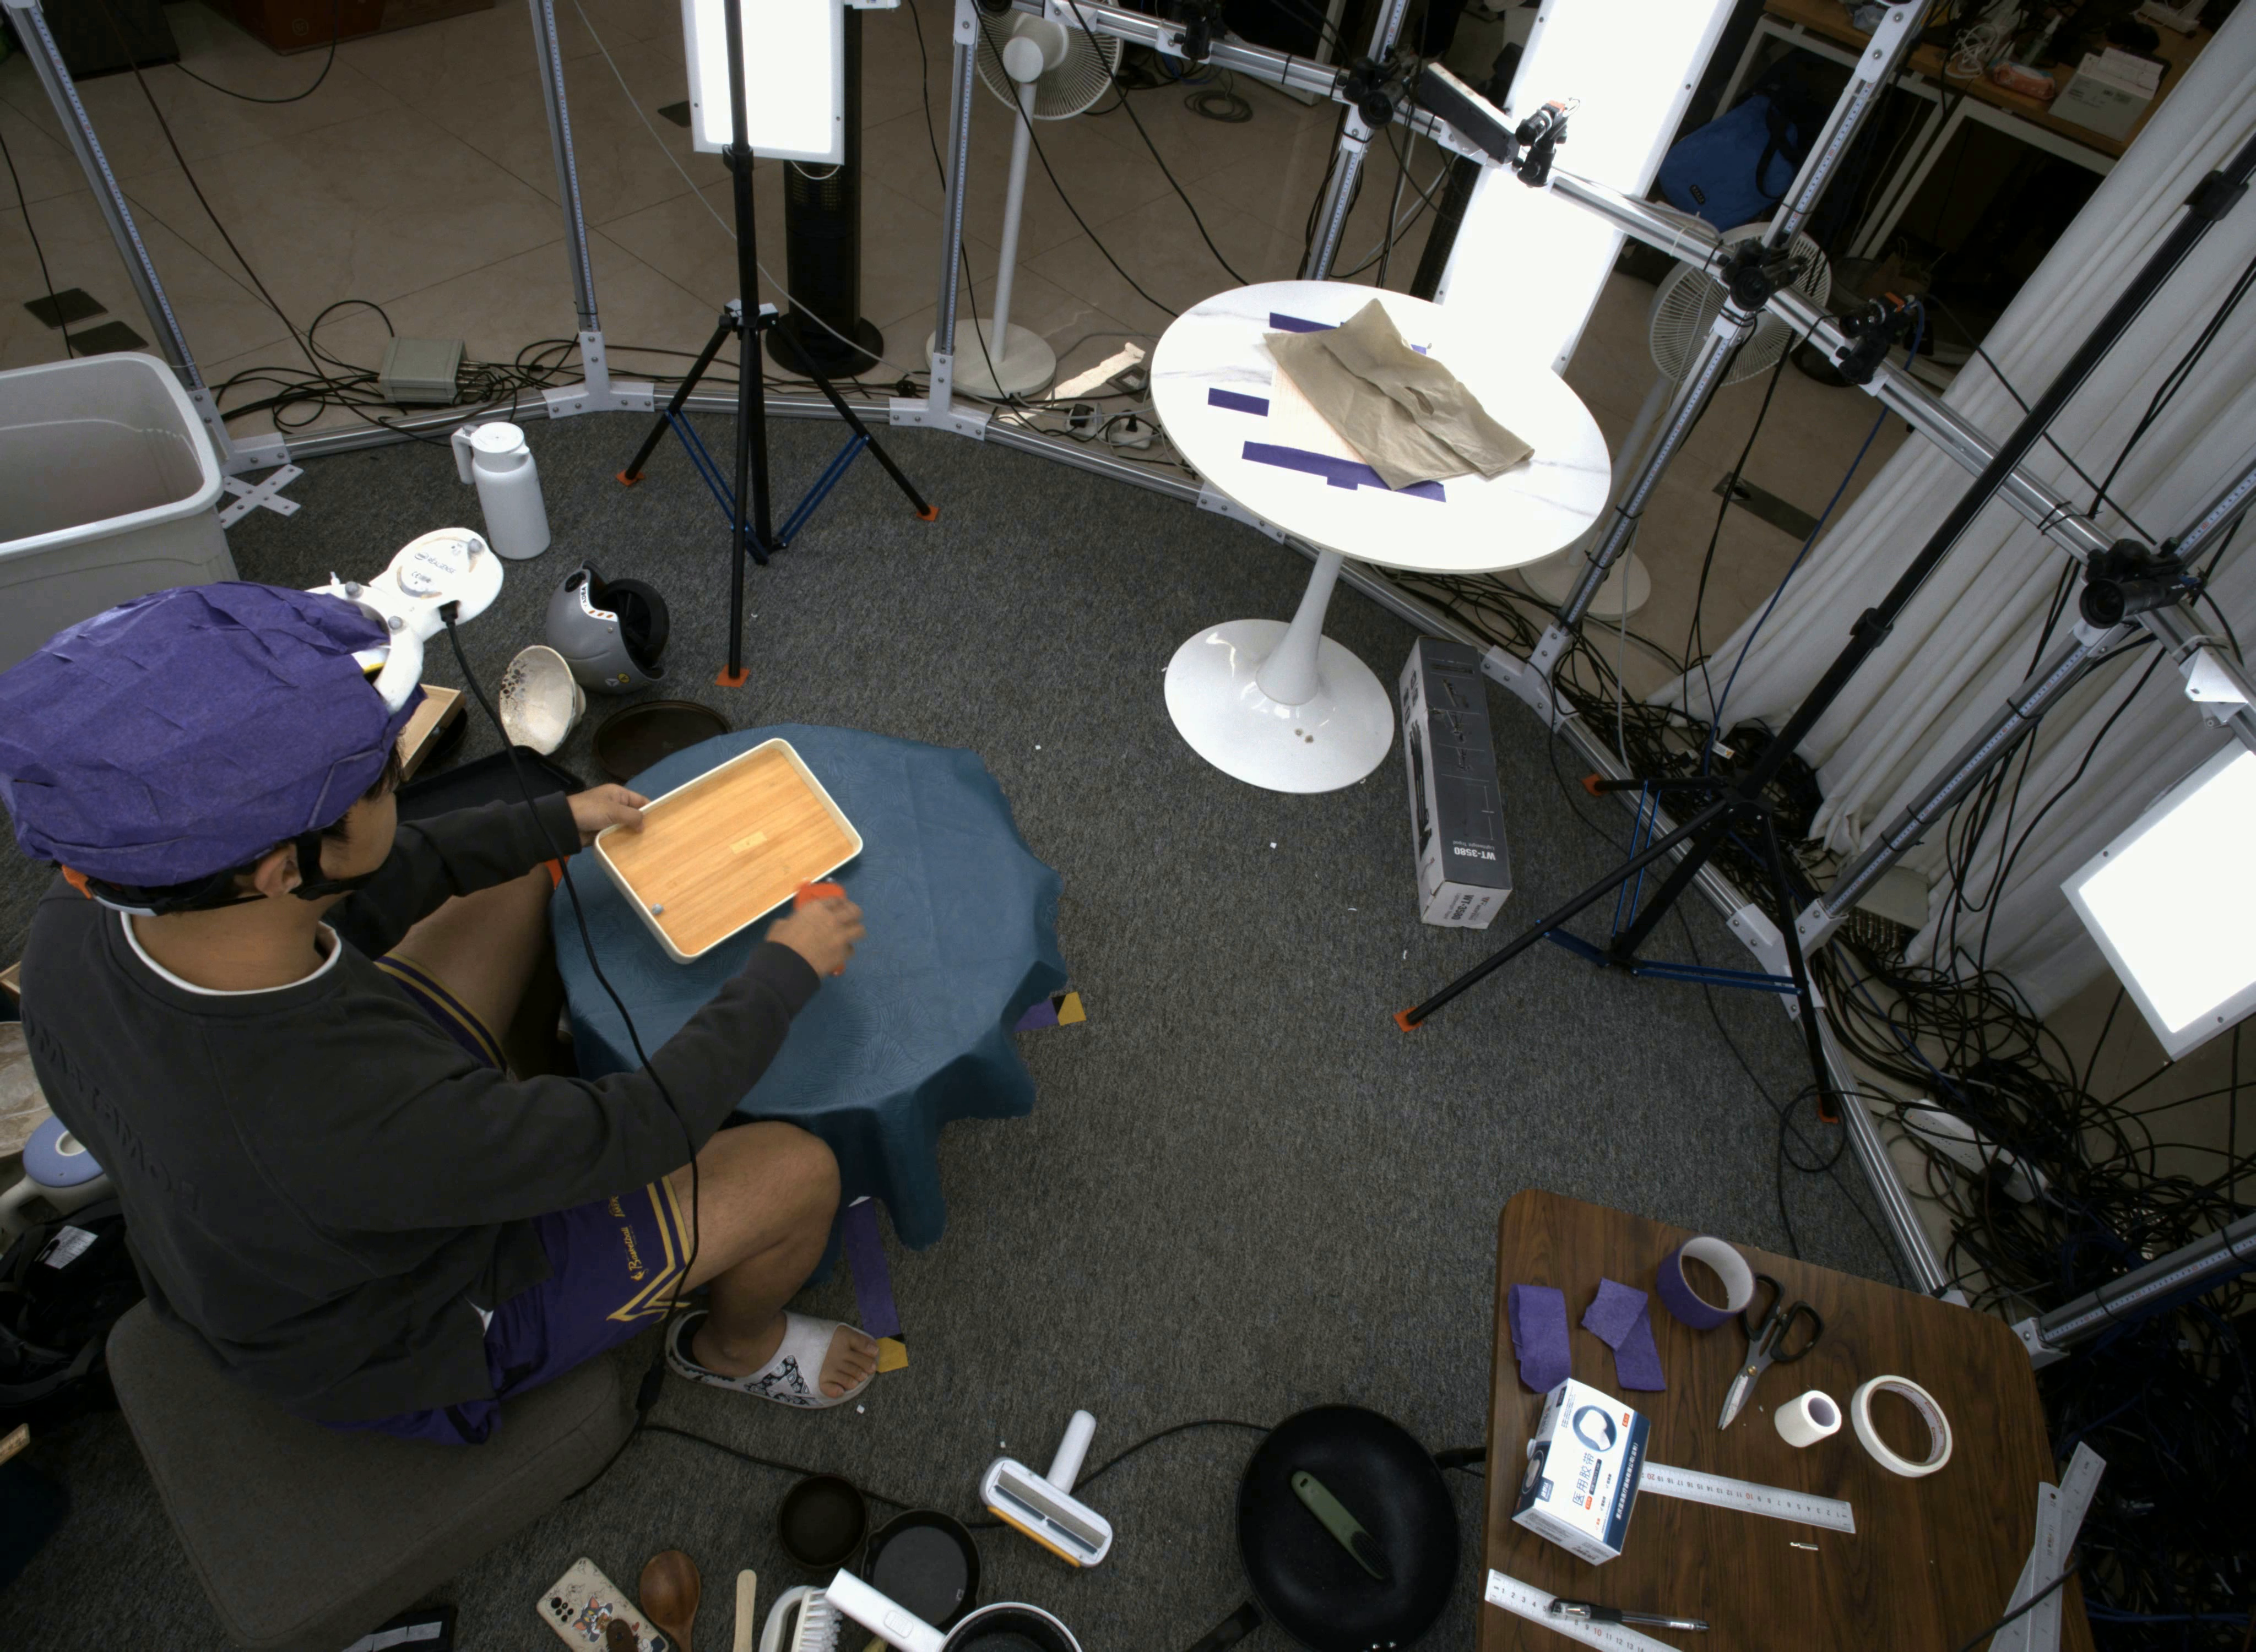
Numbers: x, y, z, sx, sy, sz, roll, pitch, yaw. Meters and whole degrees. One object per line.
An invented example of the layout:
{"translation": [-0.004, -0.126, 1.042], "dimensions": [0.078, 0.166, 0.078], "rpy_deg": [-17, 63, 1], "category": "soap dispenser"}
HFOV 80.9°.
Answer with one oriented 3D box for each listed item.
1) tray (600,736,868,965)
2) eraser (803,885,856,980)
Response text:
{"translation": [-0.487, 0.023, 1.613], "dimensions": [0.301, 0.027, 0.192], "rpy_deg": [-37, 91, -41], "category": "tray"}
{"translation": [-0.354, 0.124, 1.538], "dimensions": [0.059, 0.023, 0.107], "rpy_deg": [3, 73, -16], "category": "eraser"}
